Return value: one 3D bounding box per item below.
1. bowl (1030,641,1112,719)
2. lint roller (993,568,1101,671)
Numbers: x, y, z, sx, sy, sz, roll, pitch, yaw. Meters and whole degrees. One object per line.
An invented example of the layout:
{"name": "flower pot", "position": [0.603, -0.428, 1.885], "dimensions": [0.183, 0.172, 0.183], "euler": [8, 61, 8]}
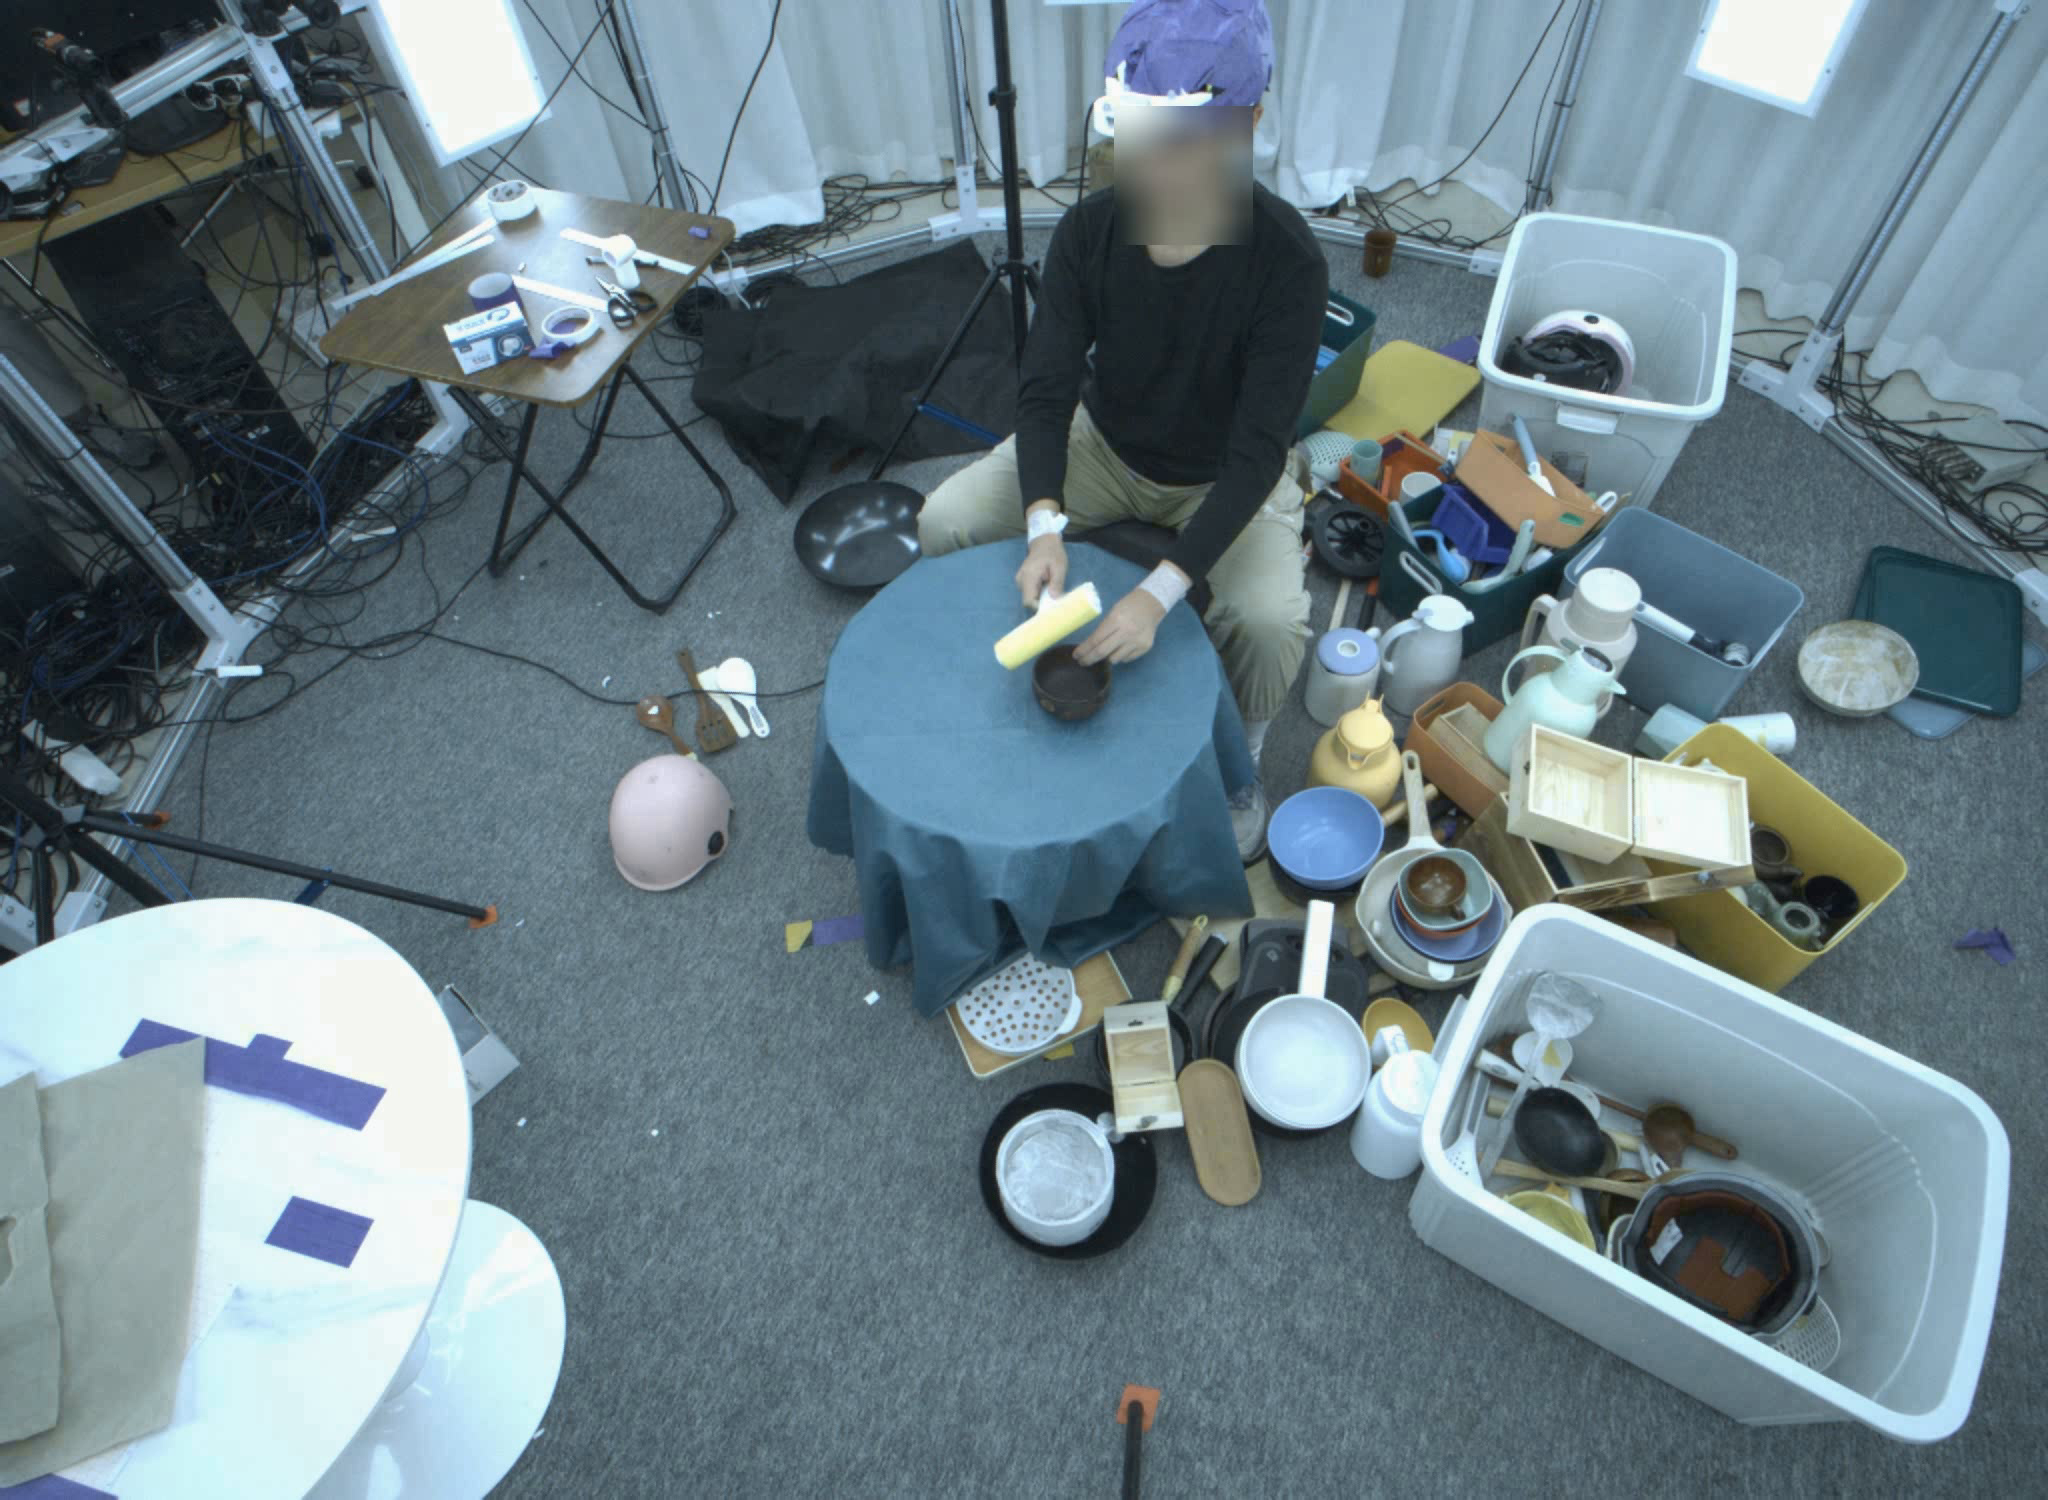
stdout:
{"name": "bowl", "position": [0.068, -0.094, 1.805], "dimensions": [0.118, 0.070, 0.117], "euler": [2, 55, -1]}
{"name": "lint roller", "position": [0.023, -0.223, 1.828], "dimensions": [0.173, 0.052, 0.189], "euler": [-32, 41, 19]}
